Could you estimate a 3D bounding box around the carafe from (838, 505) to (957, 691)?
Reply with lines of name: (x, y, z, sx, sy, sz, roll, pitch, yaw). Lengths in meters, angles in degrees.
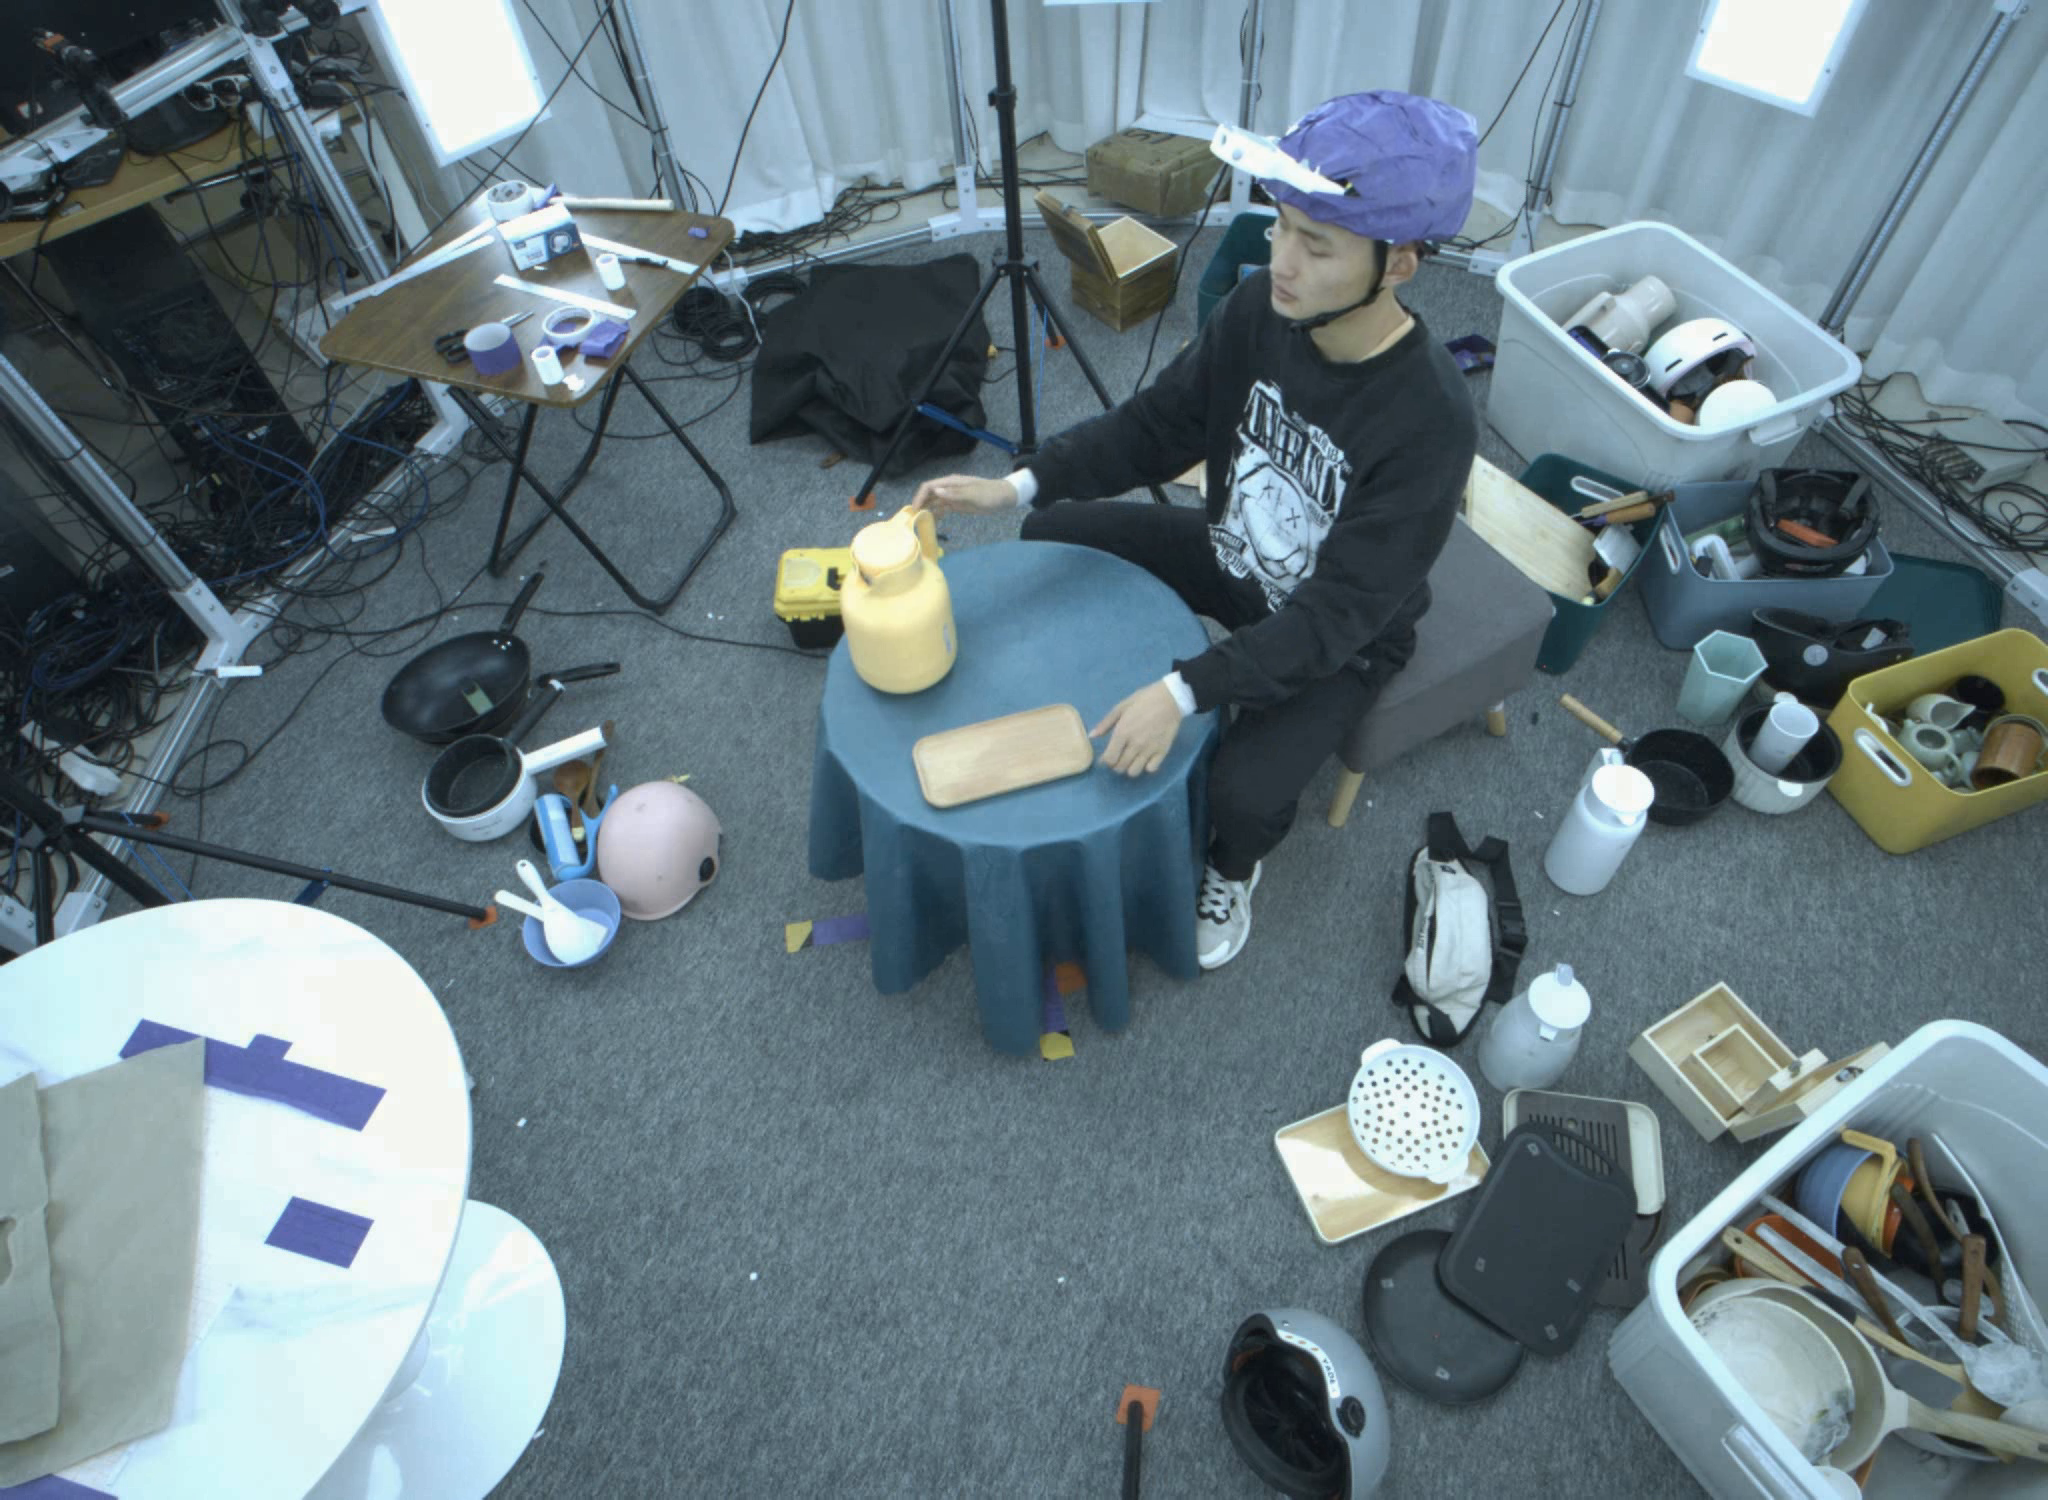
carafe: (-0.180, -0.228, 1.790, 0.162, 0.263, 0.202, 20, 59, 15)

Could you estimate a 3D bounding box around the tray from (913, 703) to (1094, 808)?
tray: (-0.030, 0.007, 1.768, 0.252, 0.023, 0.128, -13, 58, -8)
